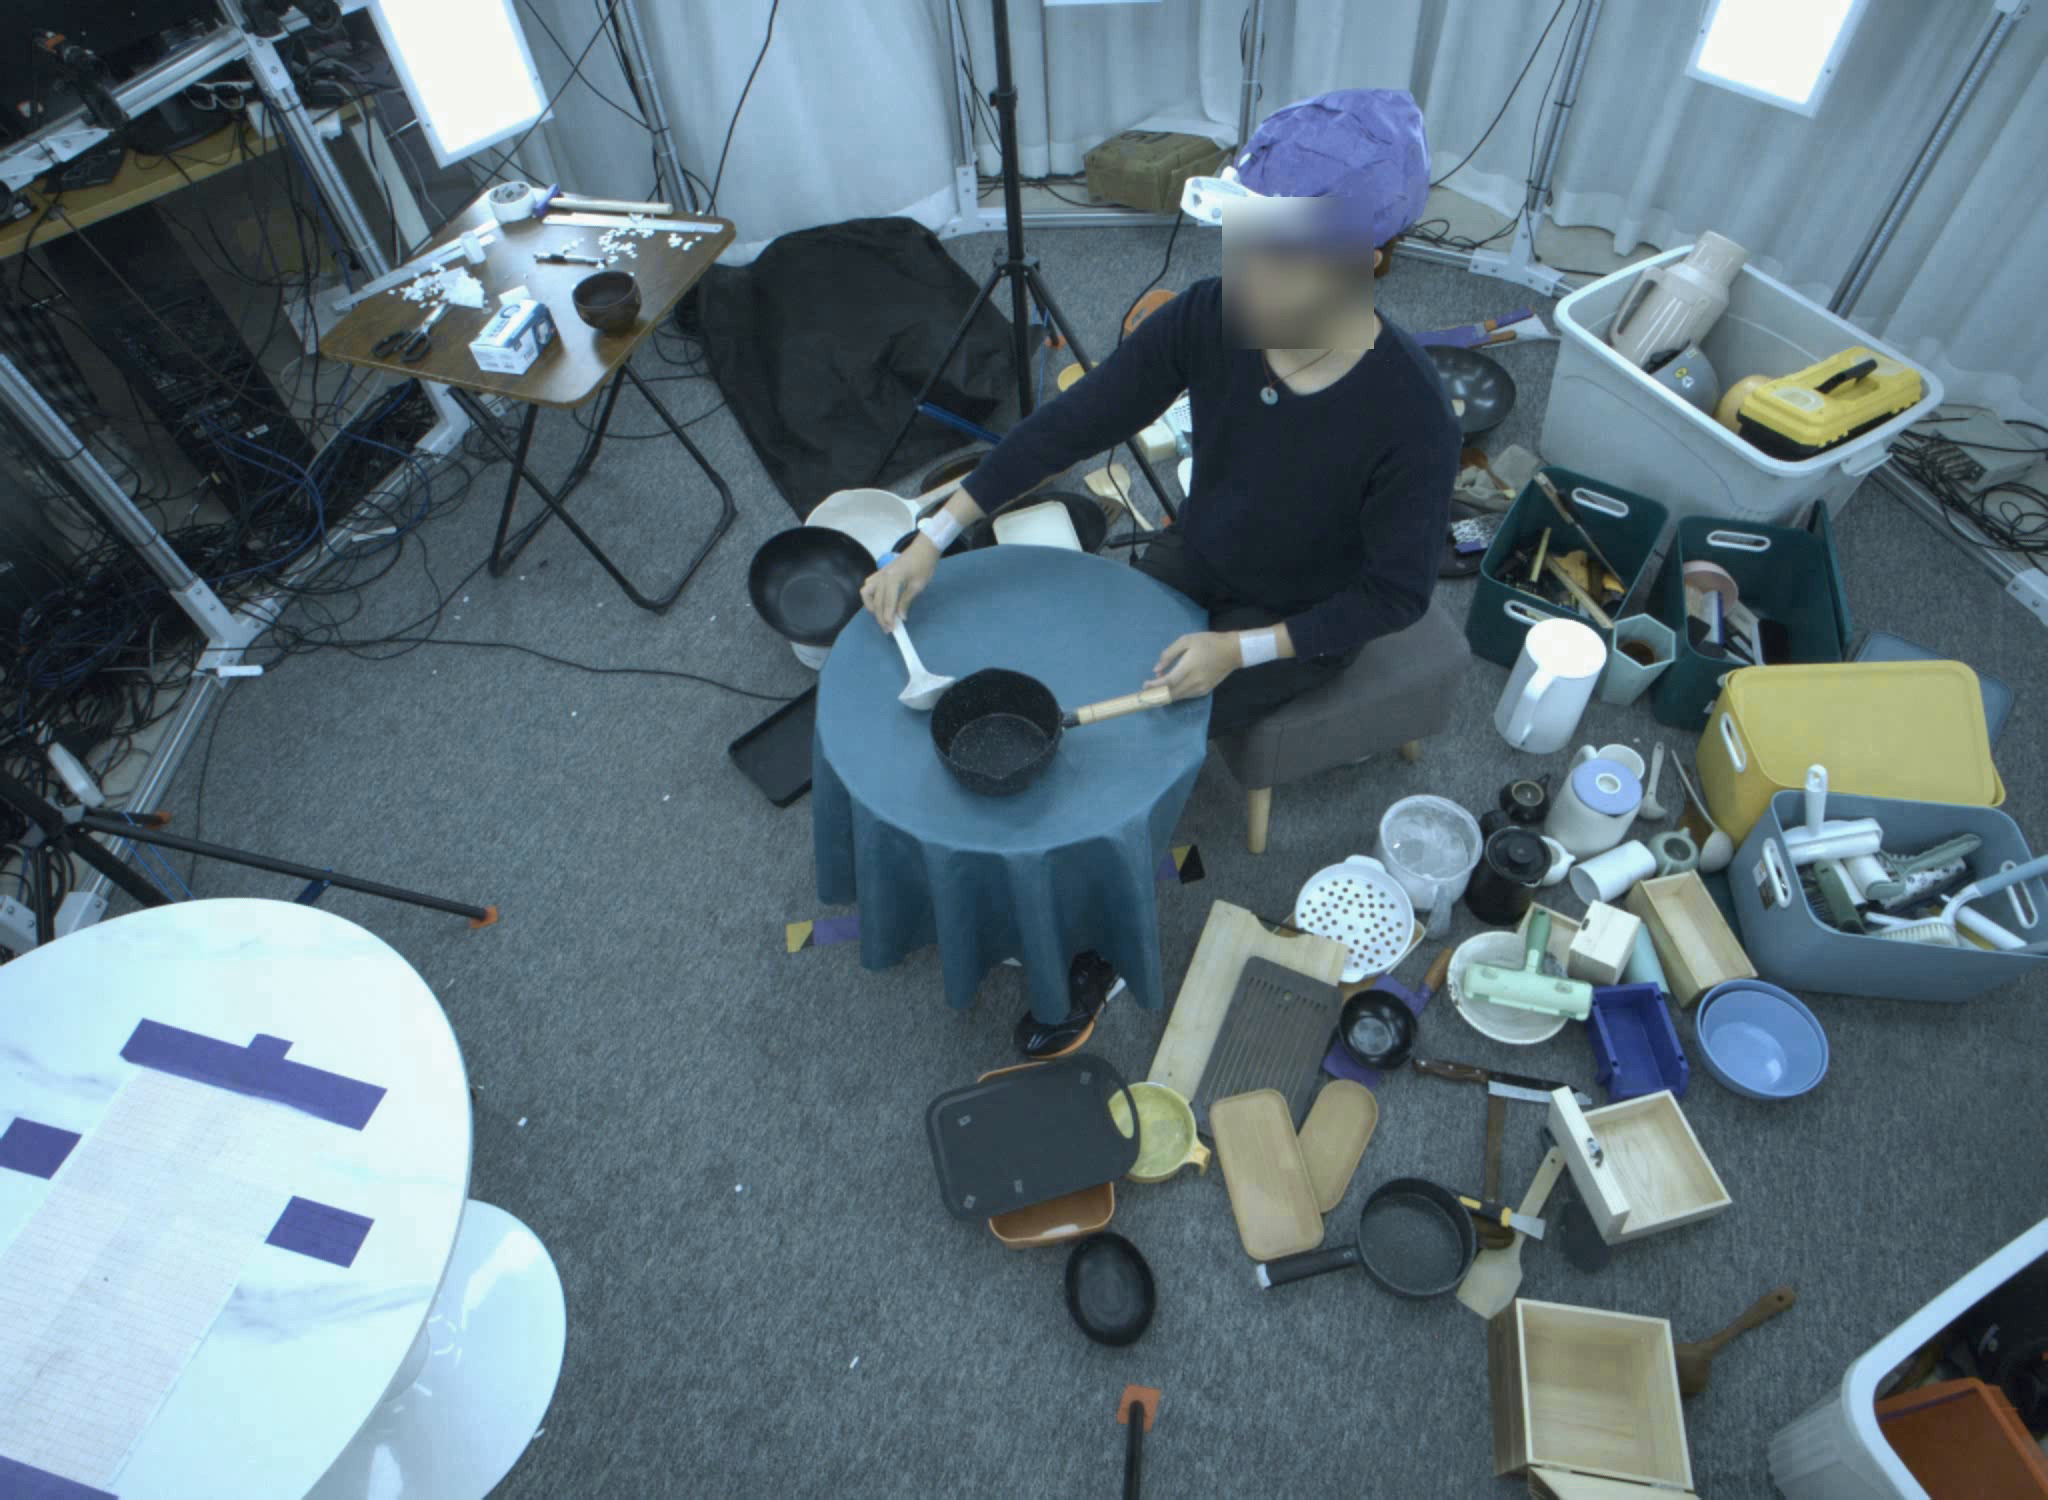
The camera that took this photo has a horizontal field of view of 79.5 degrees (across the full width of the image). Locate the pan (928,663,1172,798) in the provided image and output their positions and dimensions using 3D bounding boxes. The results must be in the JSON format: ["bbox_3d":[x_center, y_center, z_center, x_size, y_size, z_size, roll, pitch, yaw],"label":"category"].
[{"bbox_3d":[0.039,-0.035,1.744,0.343,0.109,0.204,-8,54,-1],"label":"pan"}]

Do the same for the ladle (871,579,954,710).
[{"bbox_3d":[-0.188,-0.176,1.861,0.089,0.070,0.271,-25,65,-4],"label":"ladle"}]
